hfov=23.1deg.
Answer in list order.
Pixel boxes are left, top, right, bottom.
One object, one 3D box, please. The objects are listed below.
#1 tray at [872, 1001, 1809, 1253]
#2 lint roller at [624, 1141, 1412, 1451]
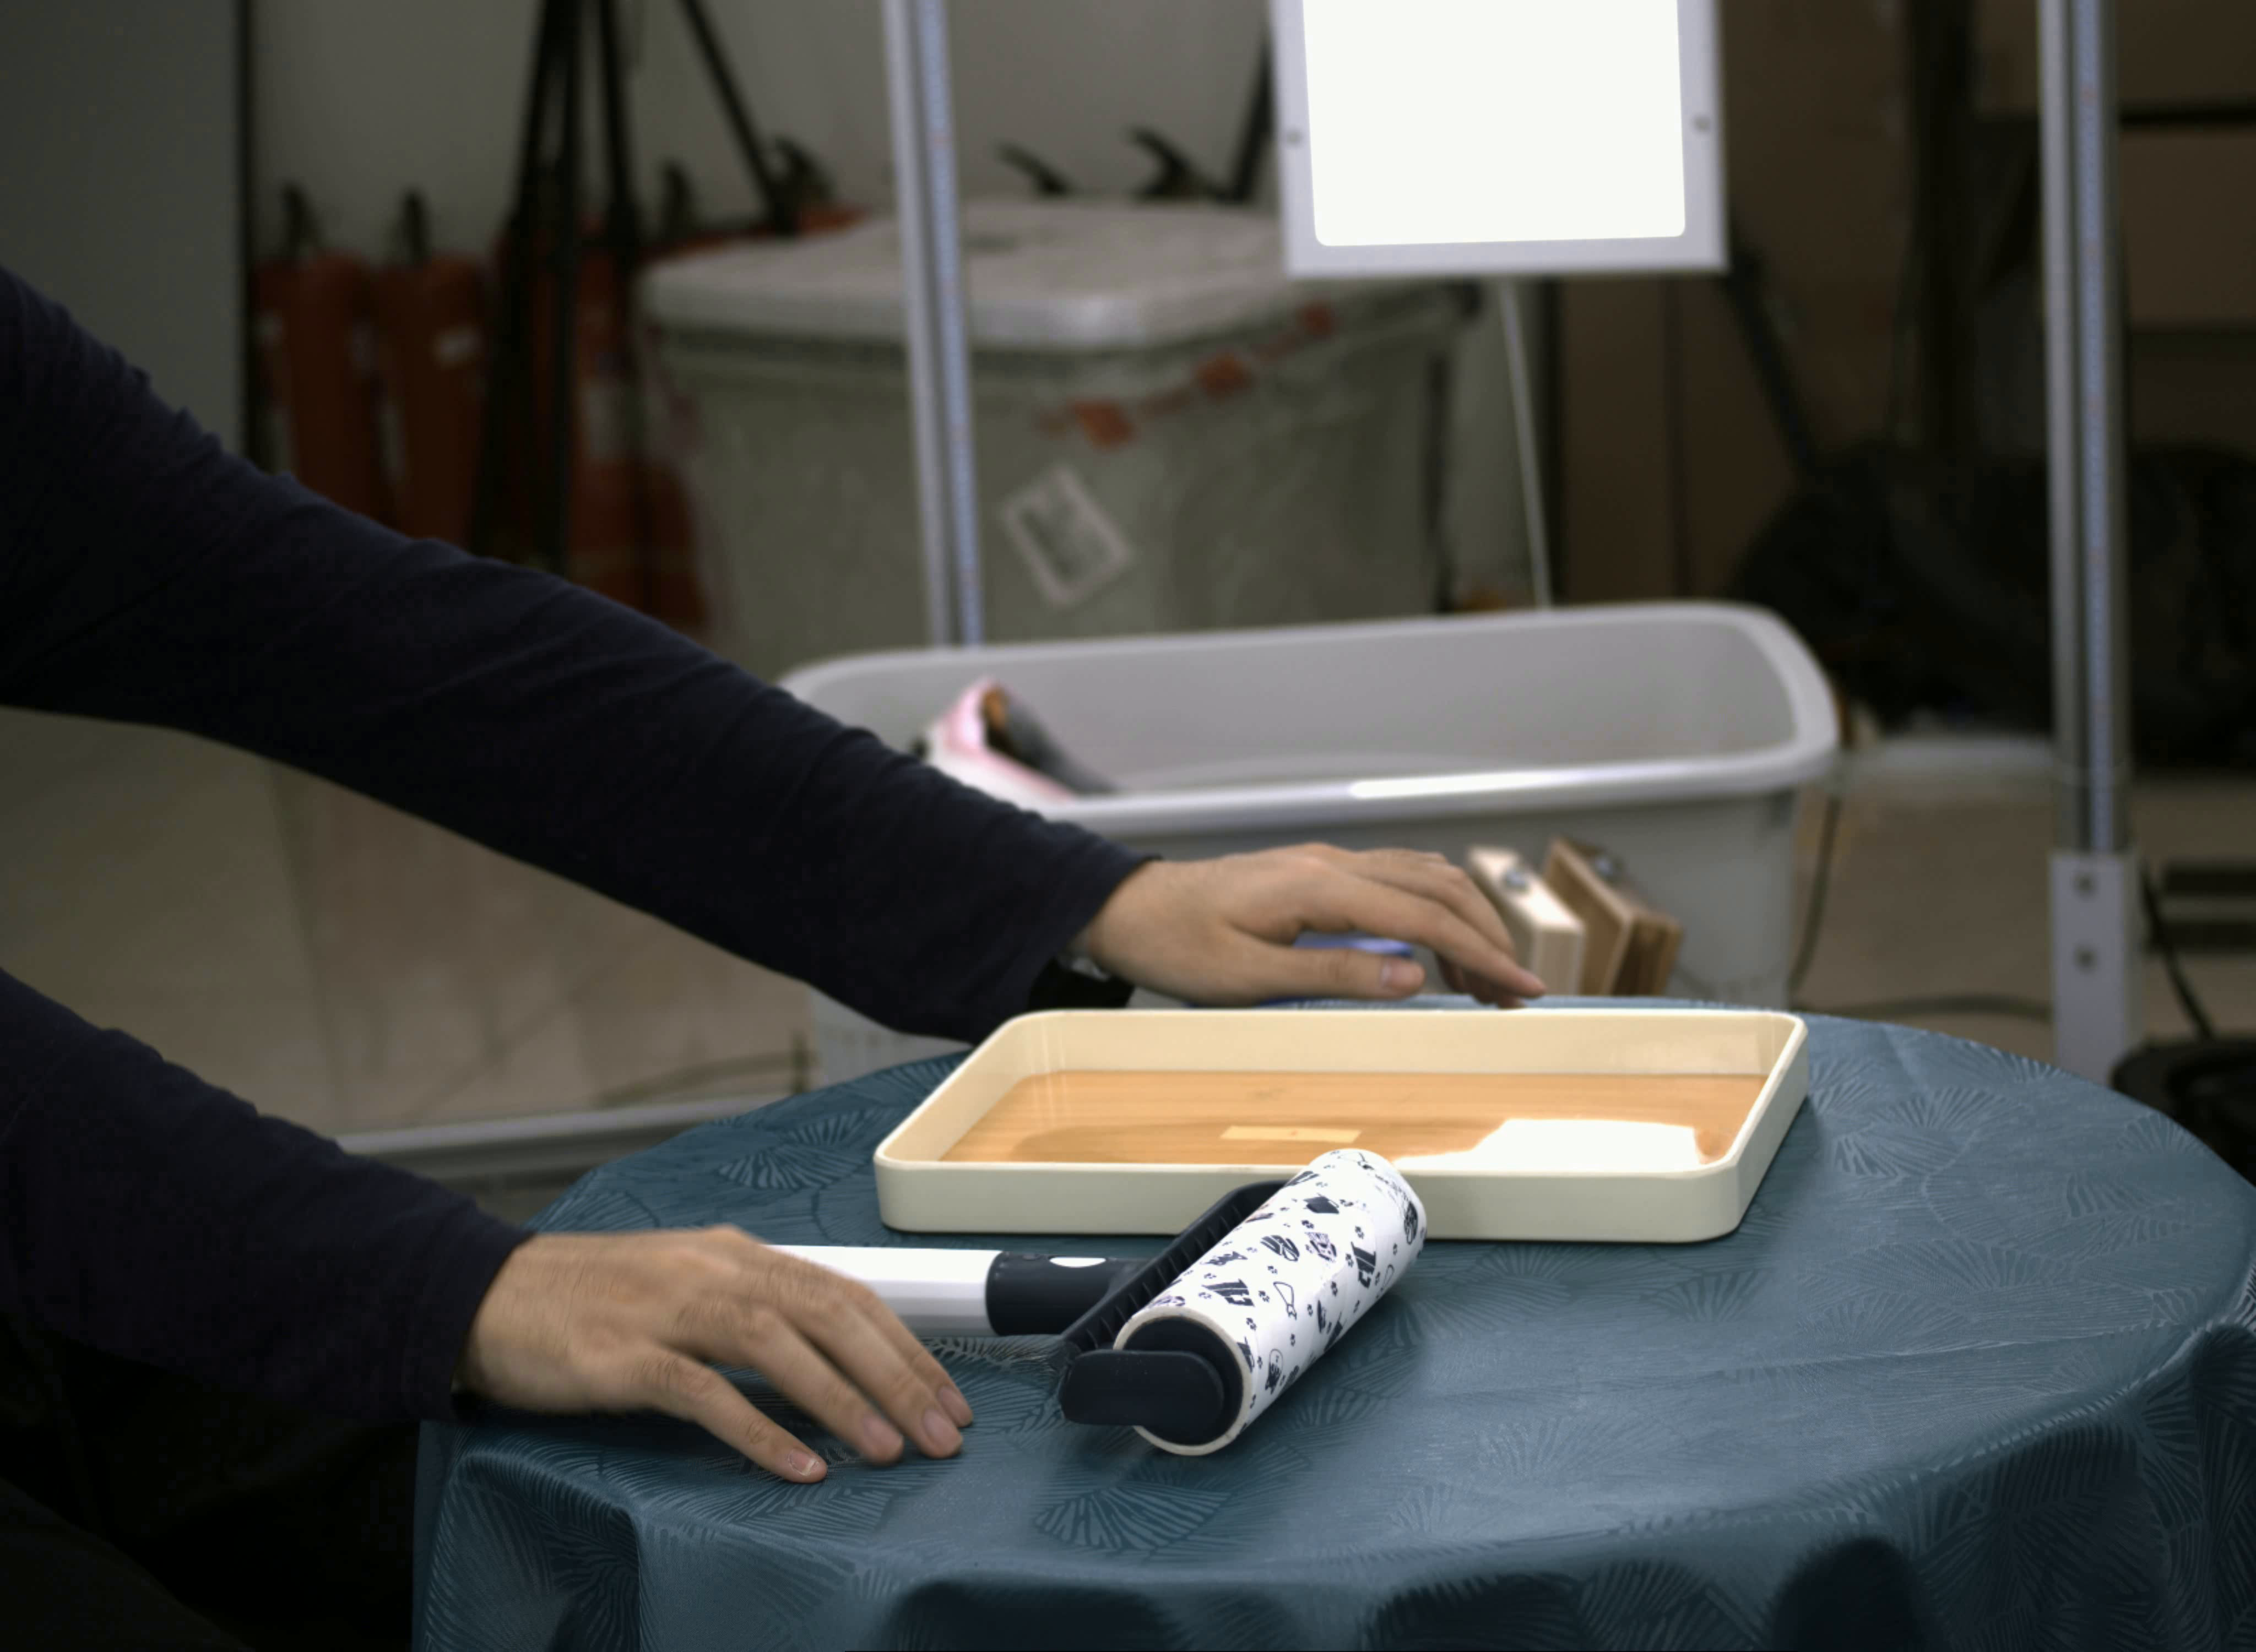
[{"bbox_3d":[0.077,0.102,1.915,0.304,0.027,0.188,0,16,19],"label":"tray"},{"bbox_3d":[-0.050,0.148,1.749,0.251,0.050,0.173,-2,14,24],"label":"lint roller"}]
